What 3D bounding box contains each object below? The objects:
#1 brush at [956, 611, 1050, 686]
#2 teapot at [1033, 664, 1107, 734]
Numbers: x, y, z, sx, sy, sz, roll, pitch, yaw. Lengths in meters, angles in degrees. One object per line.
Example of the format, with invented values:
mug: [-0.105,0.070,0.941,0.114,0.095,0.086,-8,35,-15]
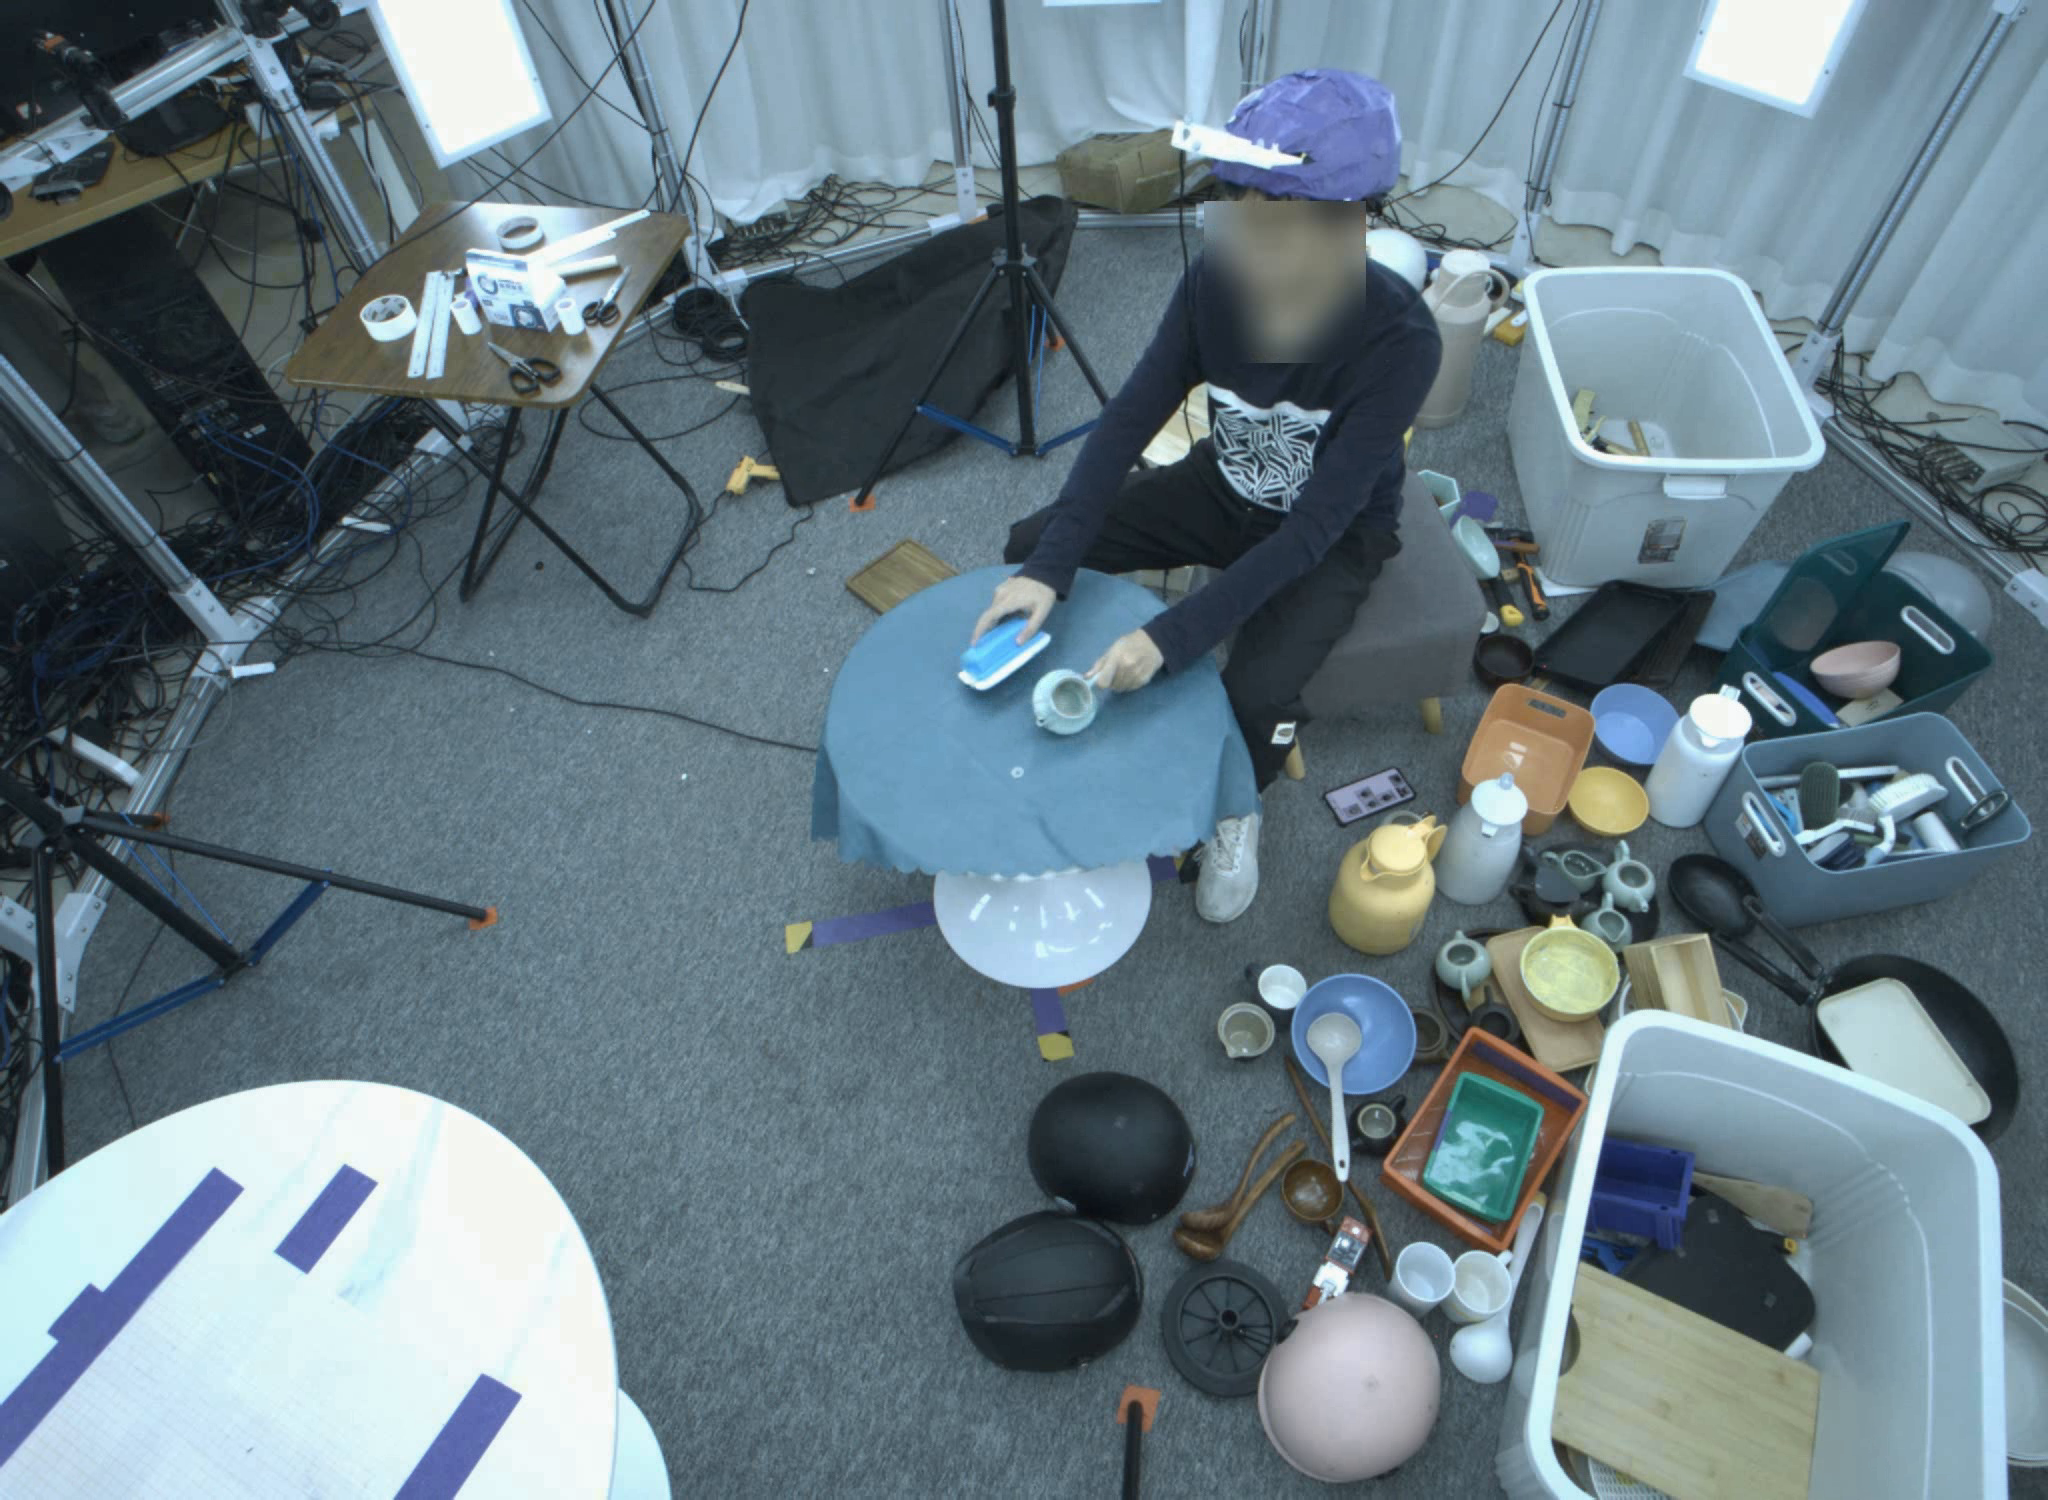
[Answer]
brush: [-0.035,-0.159,1.837,0.144,0.057,0.082,-38,42,-14]
teapot: [0.066,-0.075,1.780,0.137,0.061,0.096,-40,88,-13]
